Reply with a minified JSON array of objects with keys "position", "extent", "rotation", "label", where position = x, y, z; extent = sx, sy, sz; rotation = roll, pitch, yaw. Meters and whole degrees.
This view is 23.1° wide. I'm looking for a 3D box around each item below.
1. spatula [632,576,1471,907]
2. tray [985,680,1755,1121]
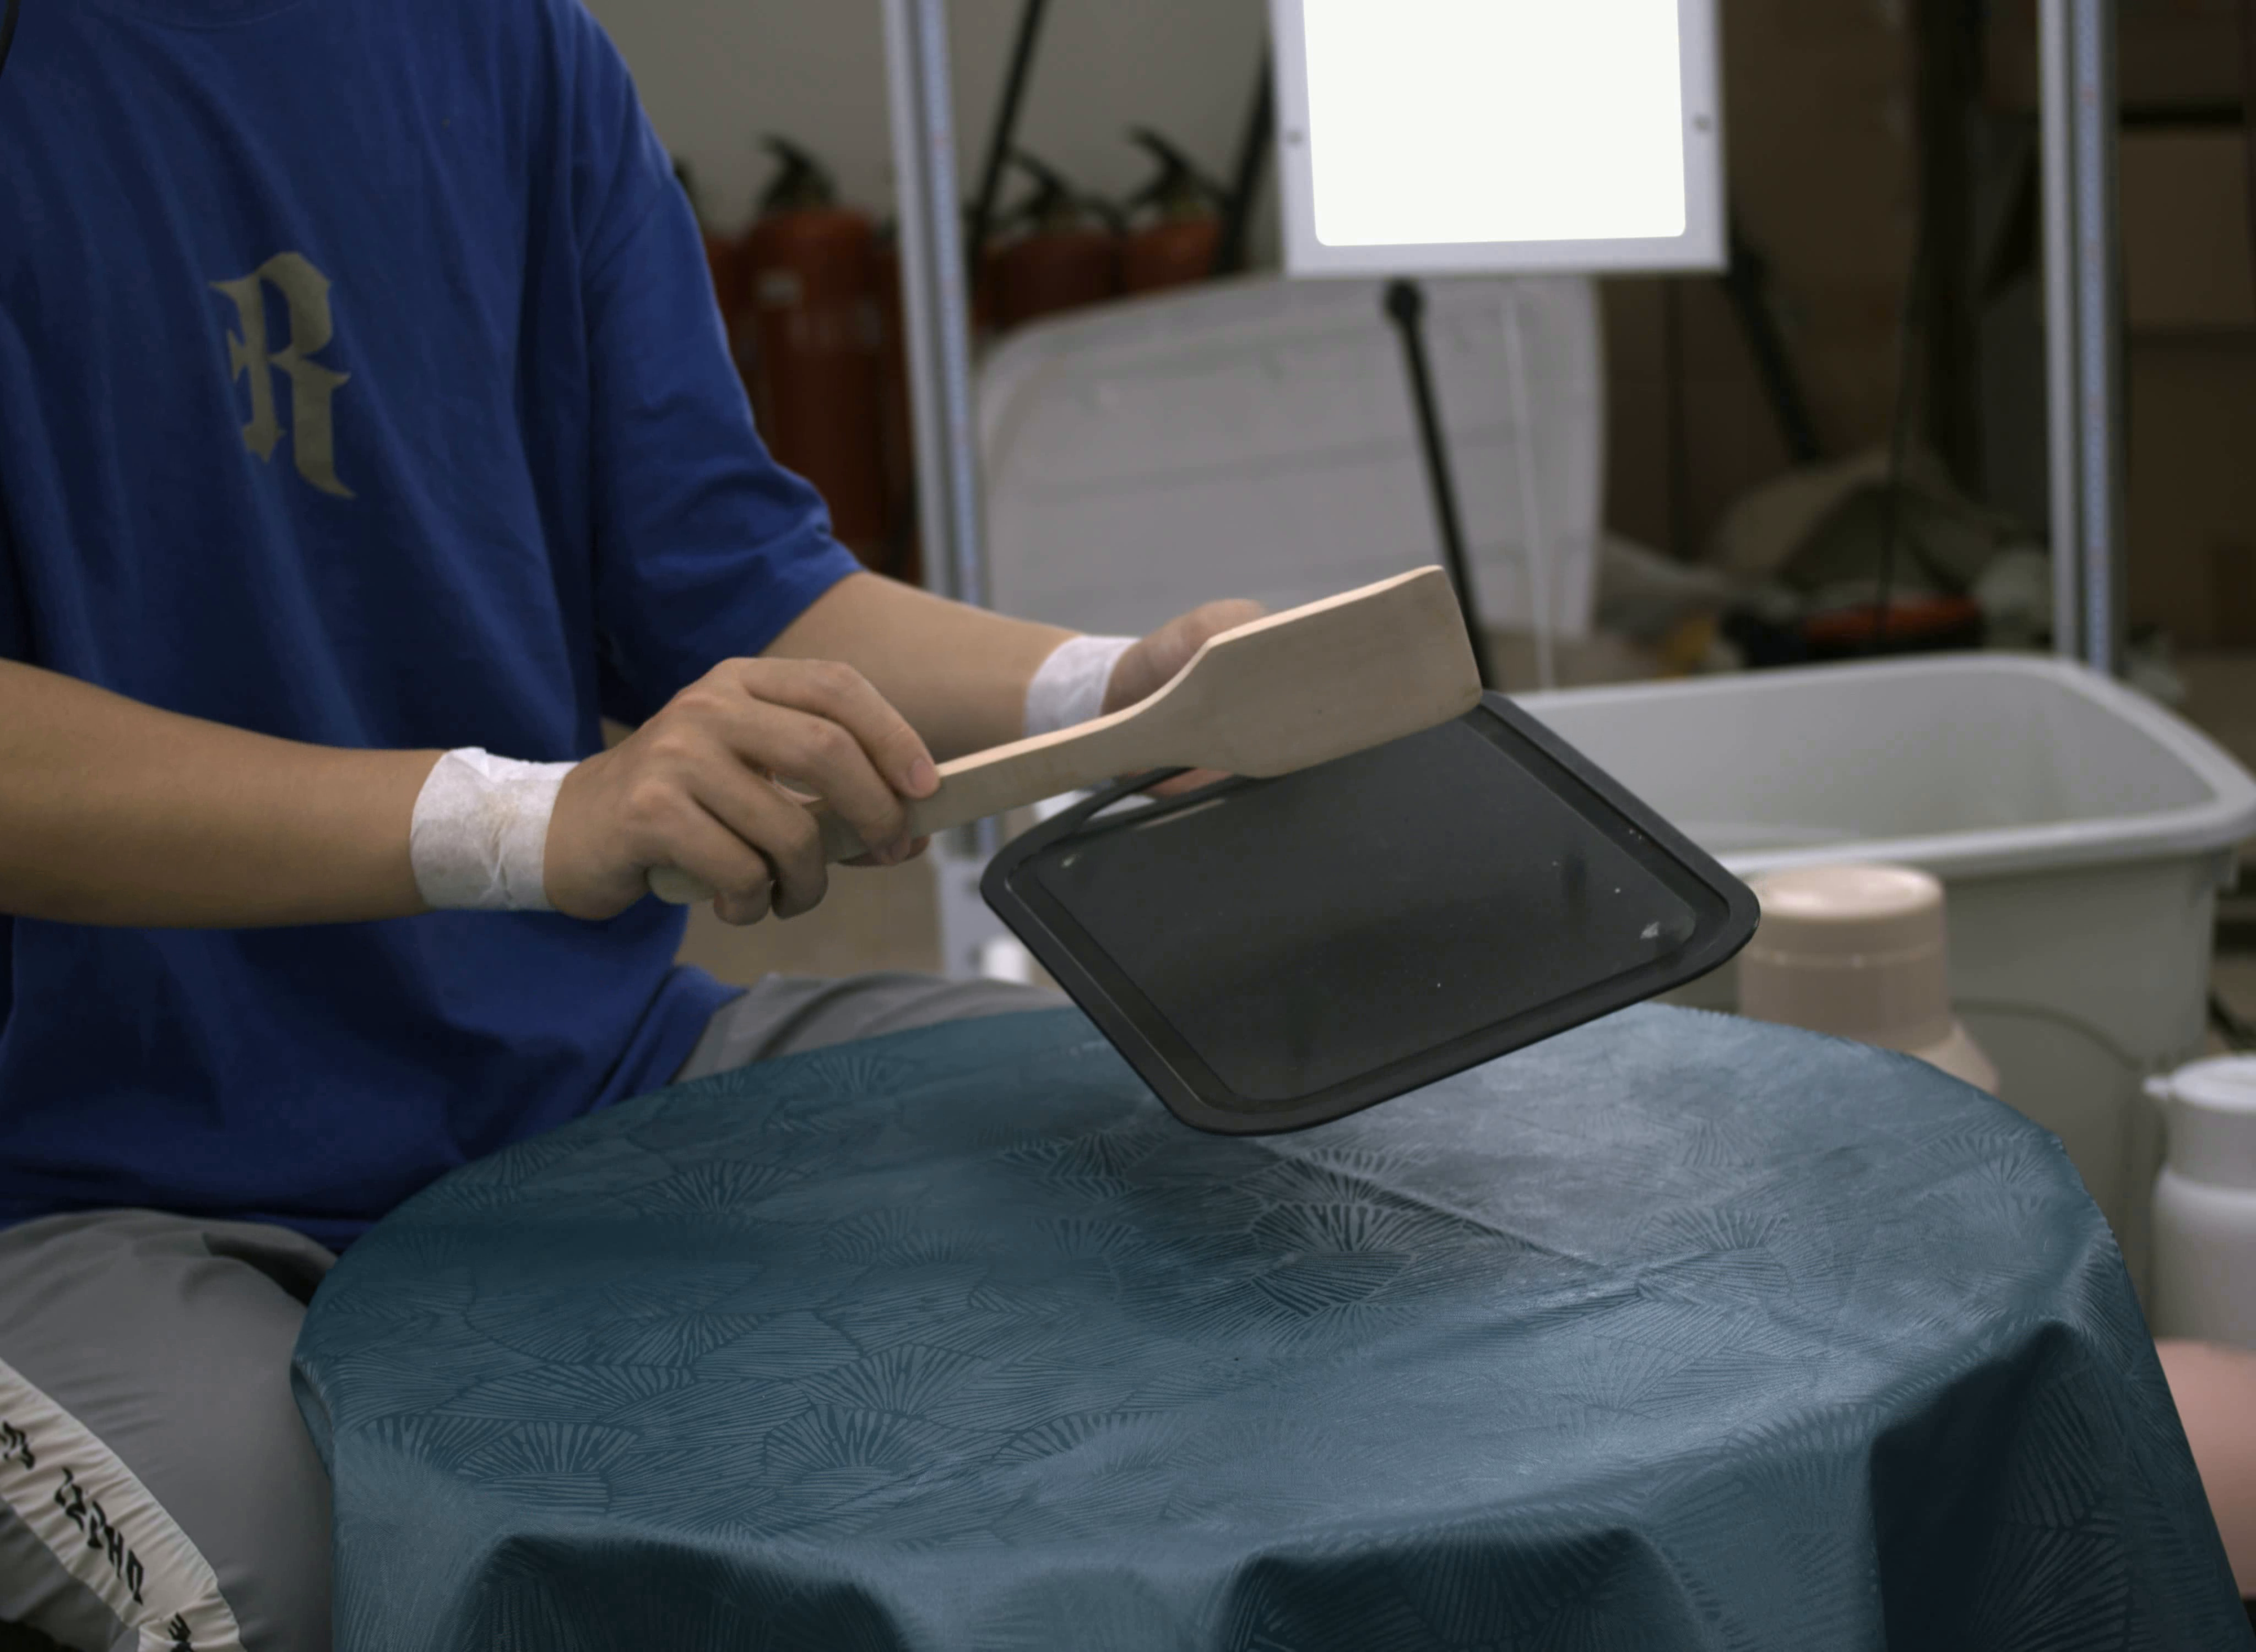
[{"position":[-0.029,-0.021,1.863],"extent":[0.294,0.072,0.010],"rotation":[-16,45,8],"label":"spatula"},{"position":[0.073,0.017,1.906],"extent":[0.209,0.010,0.328],"rotation":[-21,23,-9],"label":"tray"}]
